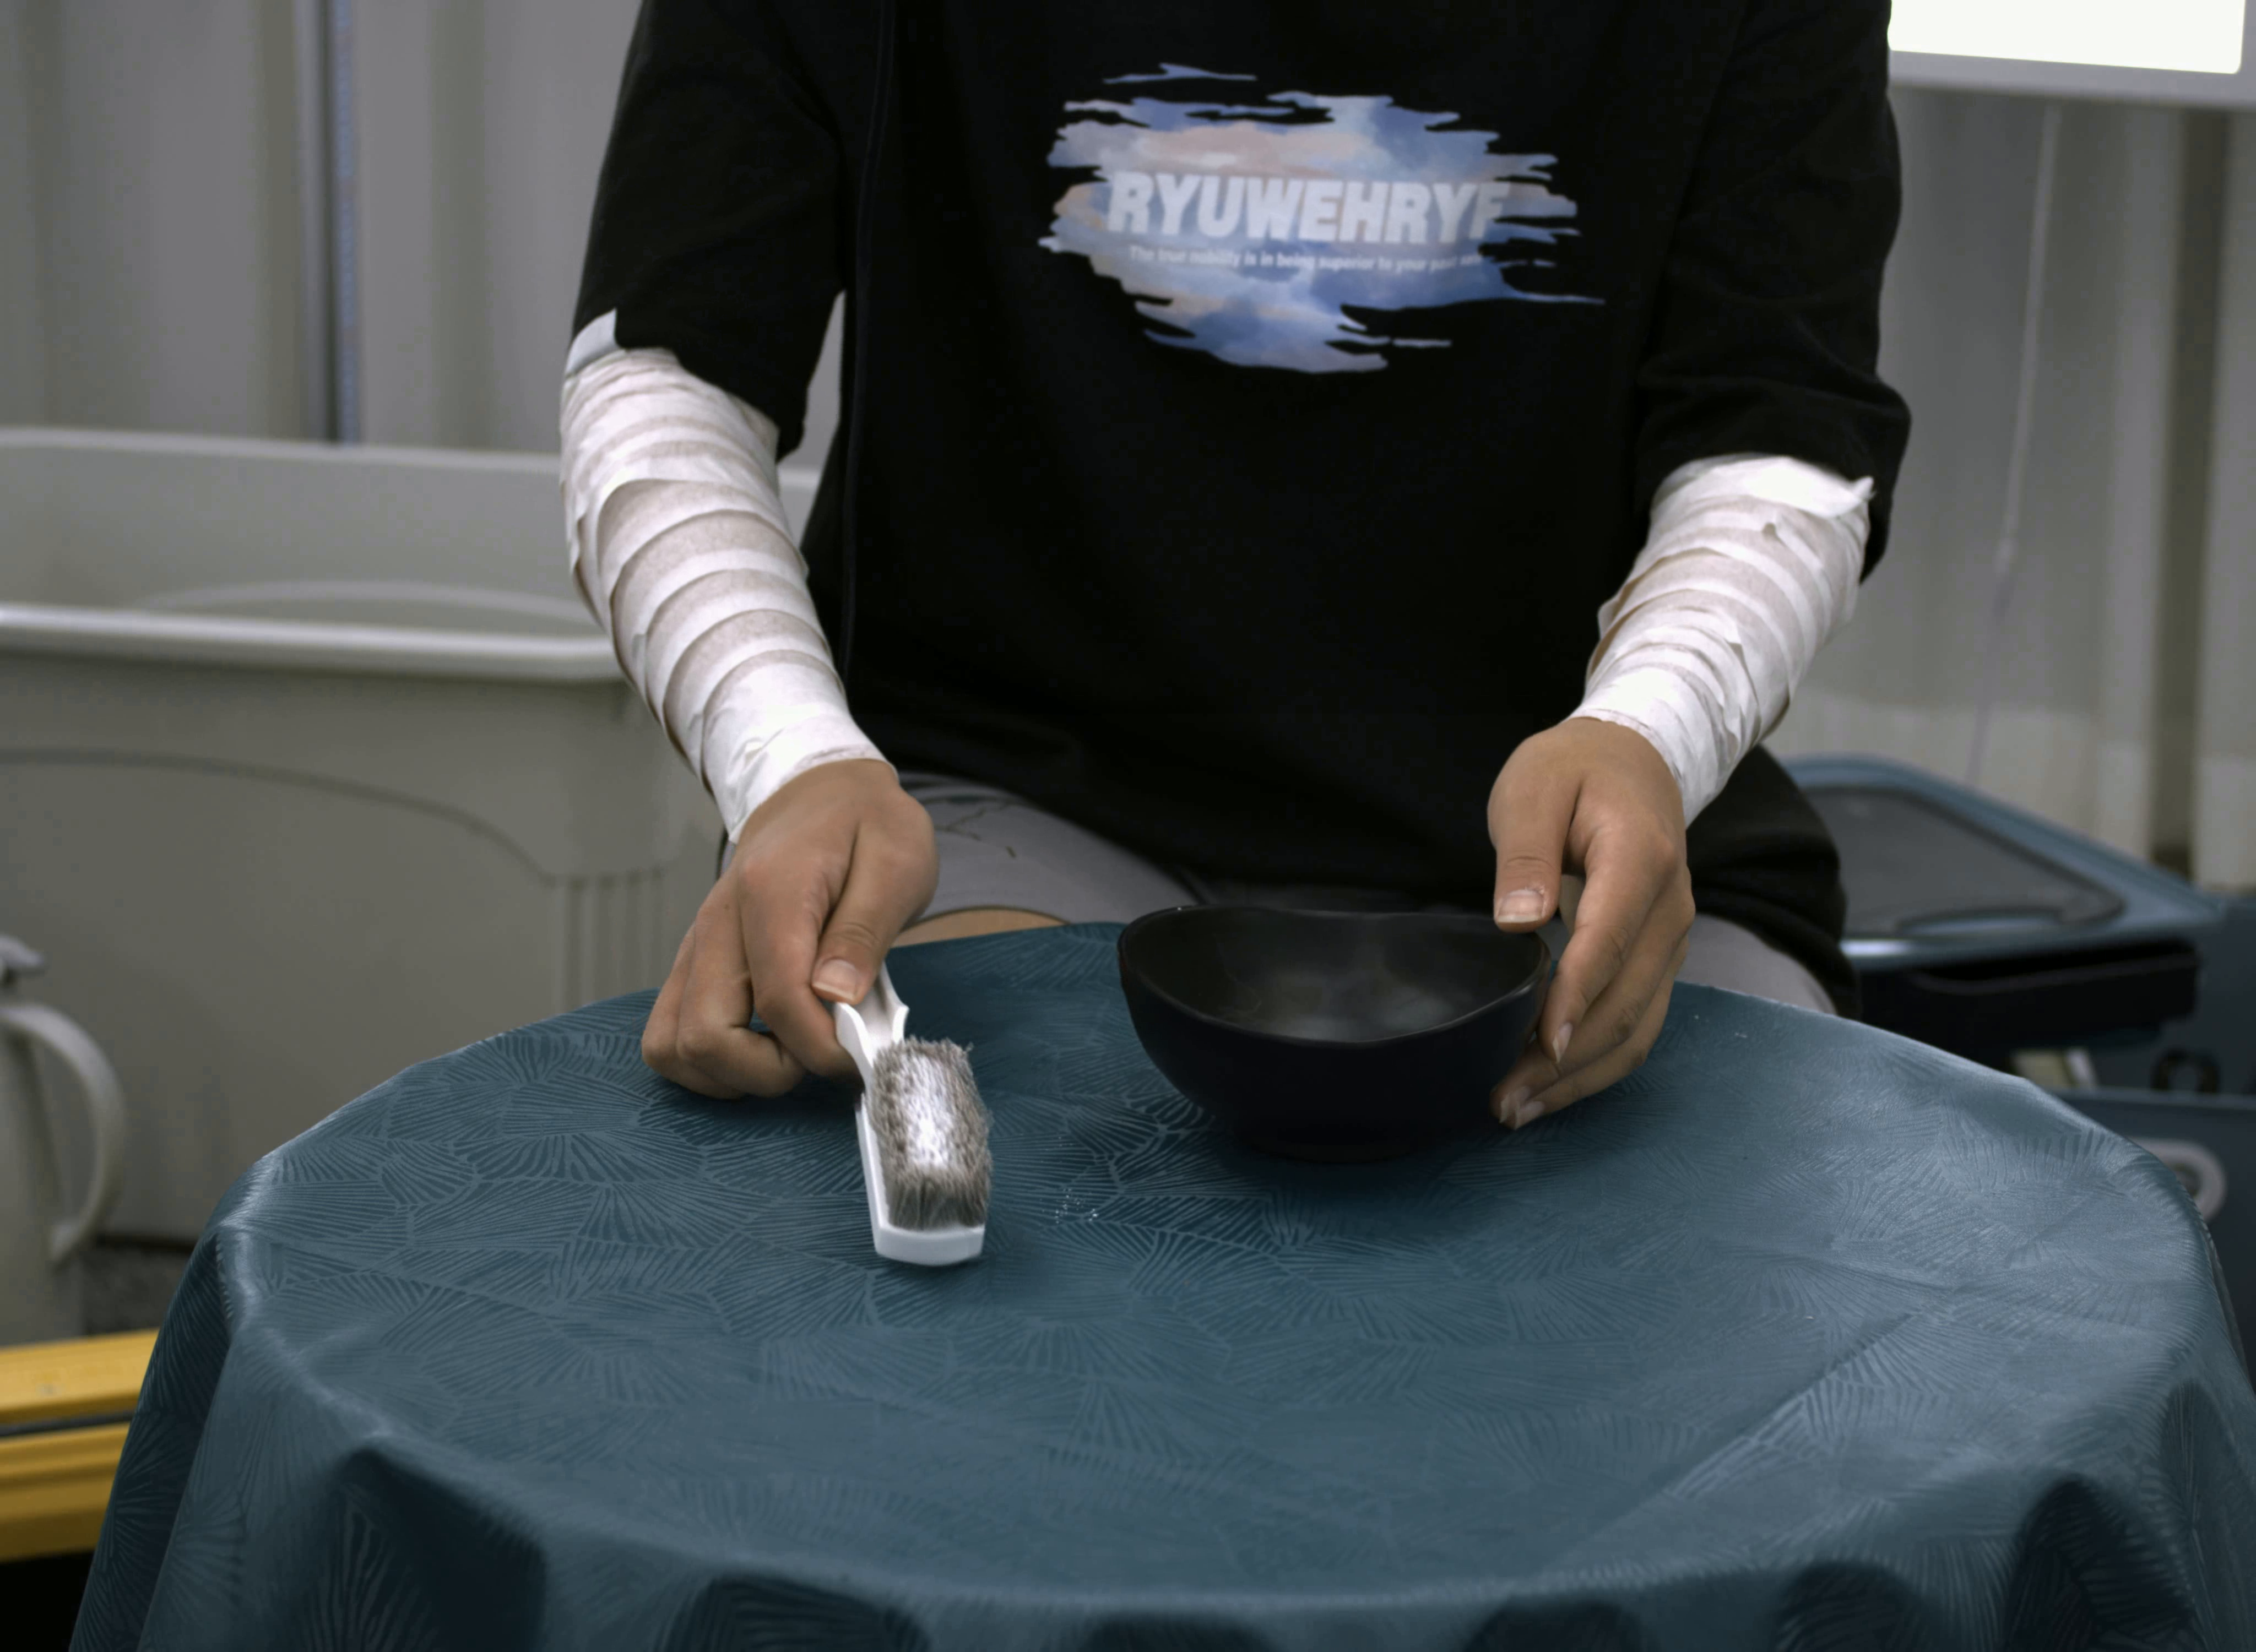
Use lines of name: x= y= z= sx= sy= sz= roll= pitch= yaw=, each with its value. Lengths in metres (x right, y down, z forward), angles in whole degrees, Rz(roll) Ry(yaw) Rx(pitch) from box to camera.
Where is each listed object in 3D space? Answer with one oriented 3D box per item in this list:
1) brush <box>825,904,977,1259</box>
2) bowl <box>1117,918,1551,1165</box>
brush: x=-0.074 y=0.060 z=1.640 sx=0.034 sy=0.051 sz=0.241 roll=1 pitch=24 yaw=-8
bowl: x=0.065 y=0.068 z=1.671 sx=0.137 sy=0.067 sz=0.169 roll=2 pitch=13 yaw=3
